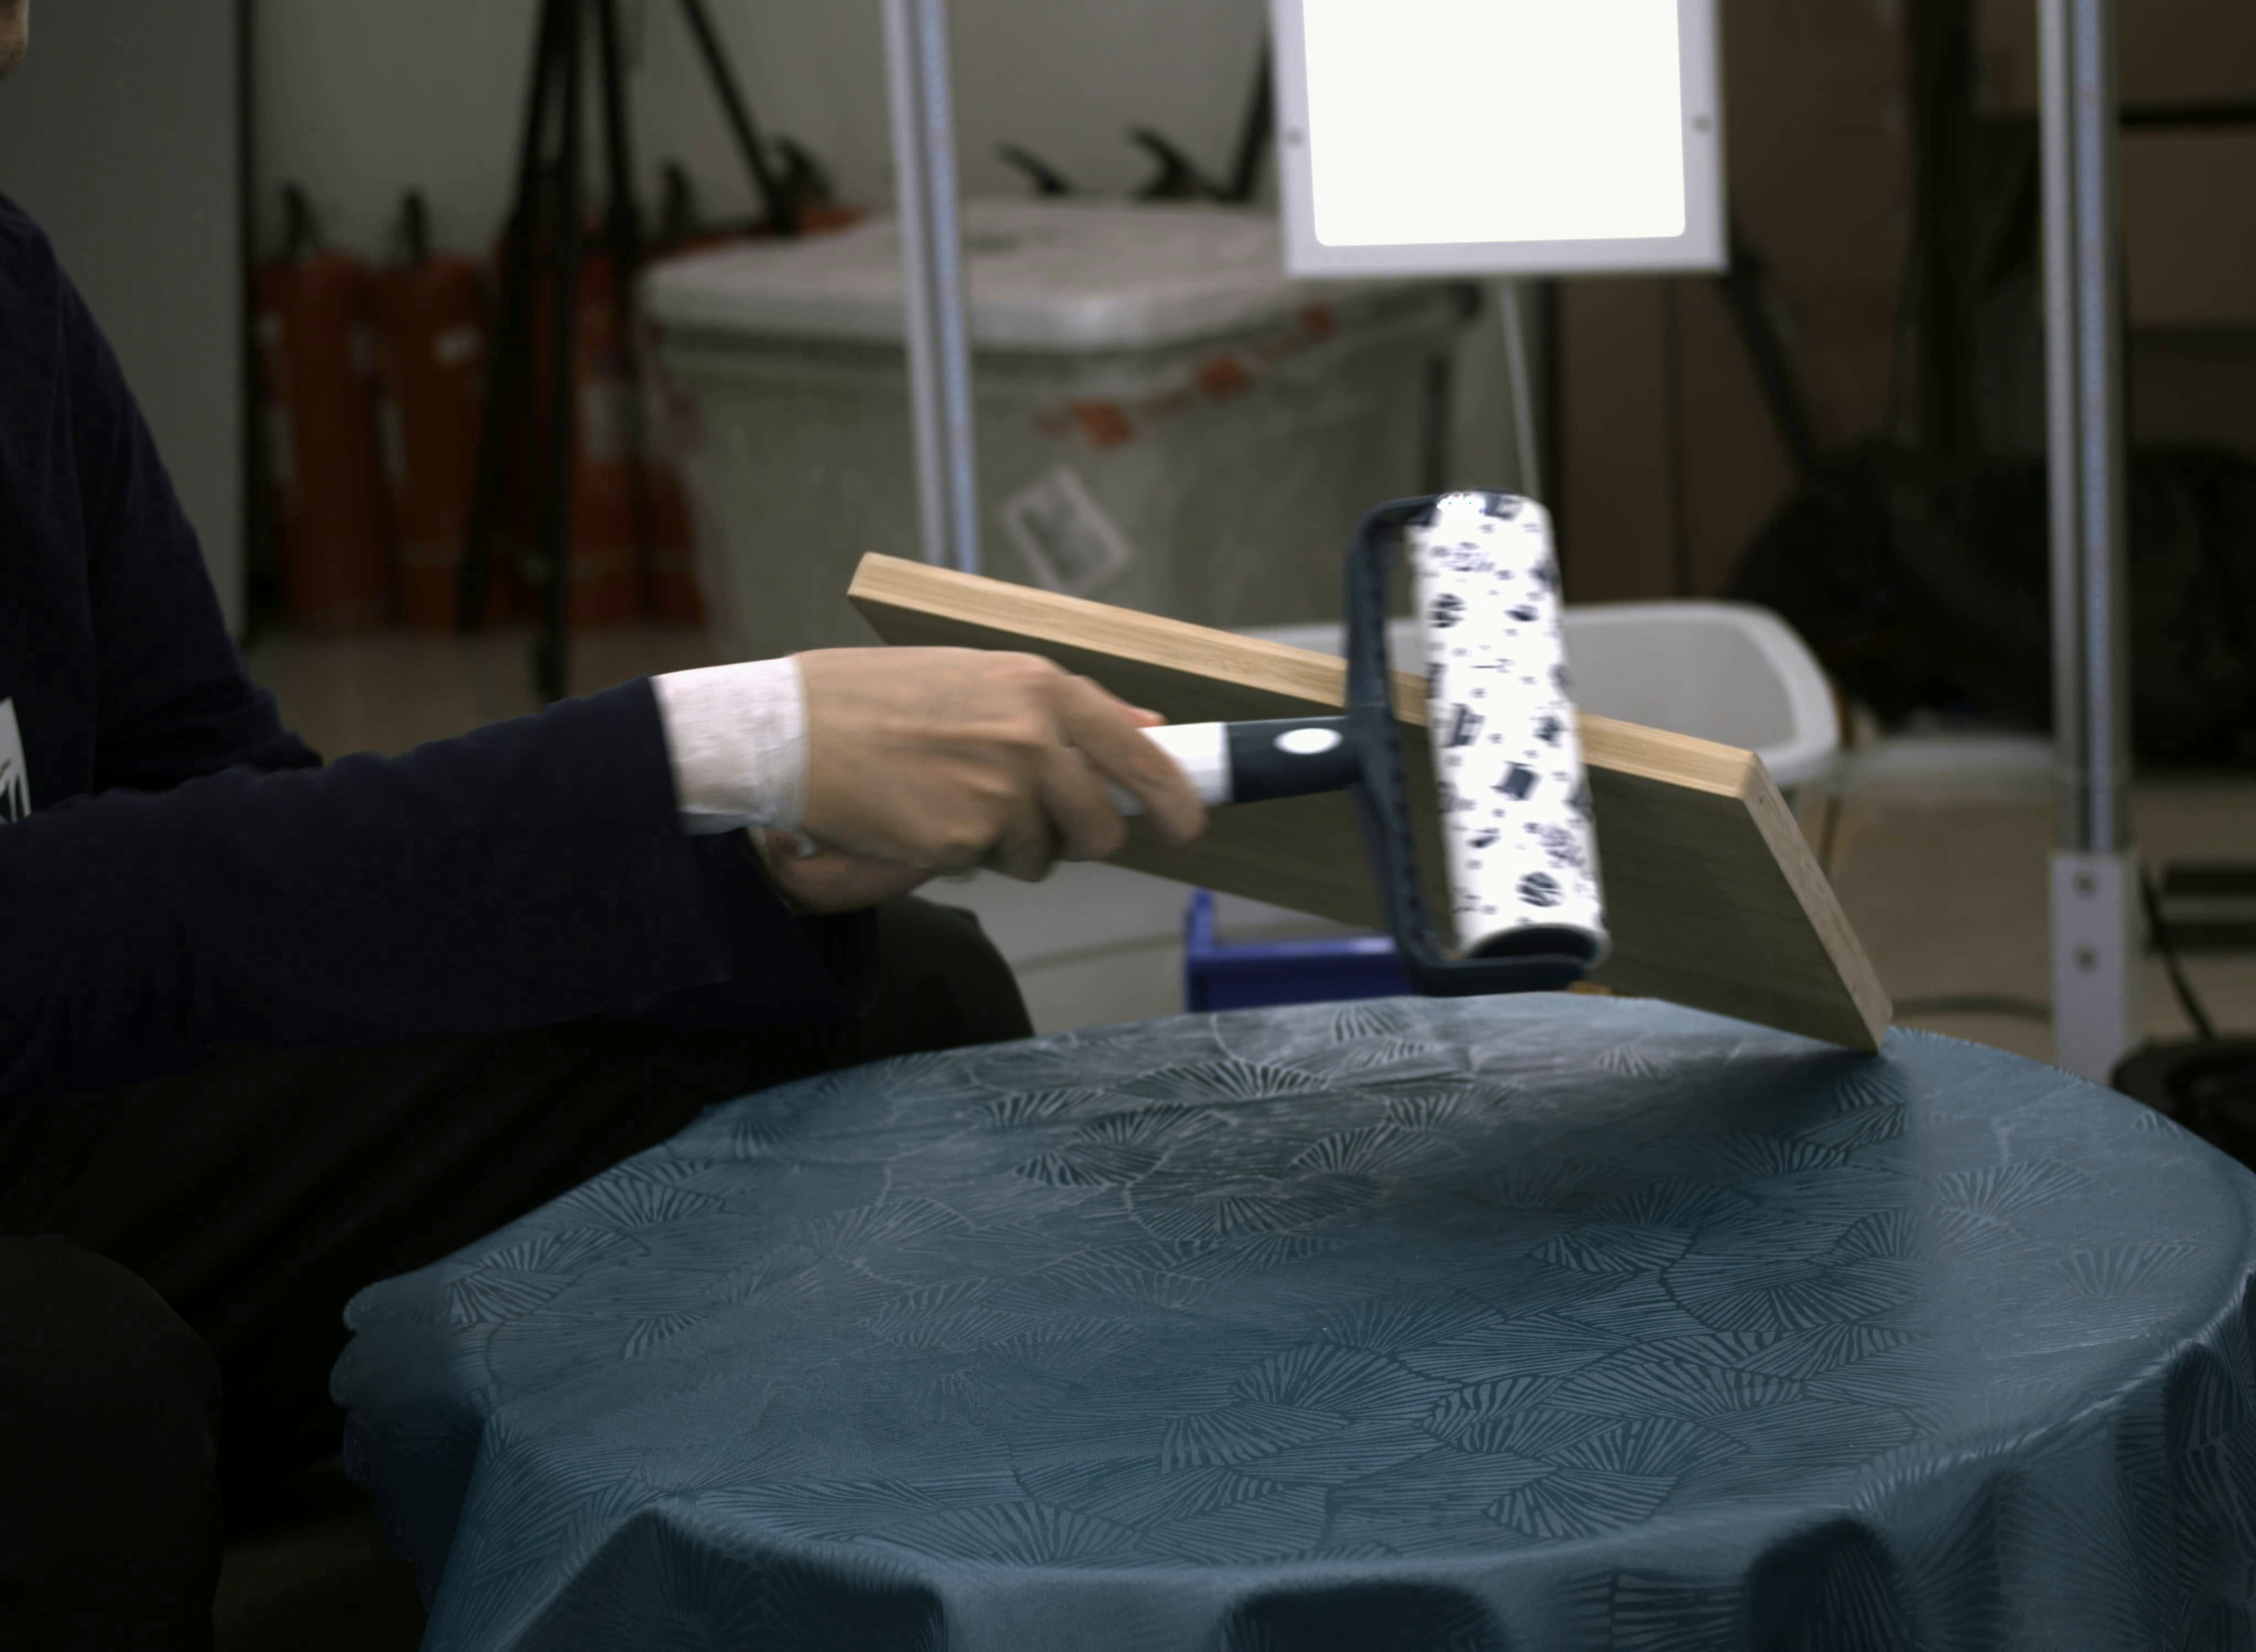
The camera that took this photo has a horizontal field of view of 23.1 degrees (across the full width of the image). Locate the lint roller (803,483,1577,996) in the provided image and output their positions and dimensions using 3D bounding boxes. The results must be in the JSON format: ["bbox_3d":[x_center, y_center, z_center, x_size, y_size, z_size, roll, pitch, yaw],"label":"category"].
[{"bbox_3d":[0.016,-0.018,1.797,0.246,0.176,0.050,-7,-26,1],"label":"lint roller"}]

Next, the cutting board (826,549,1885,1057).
[{"bbox_3d":[0.084,-0.008,1.964,0.354,0.023,0.248,14,-18,26],"label":"cutting board"}]
